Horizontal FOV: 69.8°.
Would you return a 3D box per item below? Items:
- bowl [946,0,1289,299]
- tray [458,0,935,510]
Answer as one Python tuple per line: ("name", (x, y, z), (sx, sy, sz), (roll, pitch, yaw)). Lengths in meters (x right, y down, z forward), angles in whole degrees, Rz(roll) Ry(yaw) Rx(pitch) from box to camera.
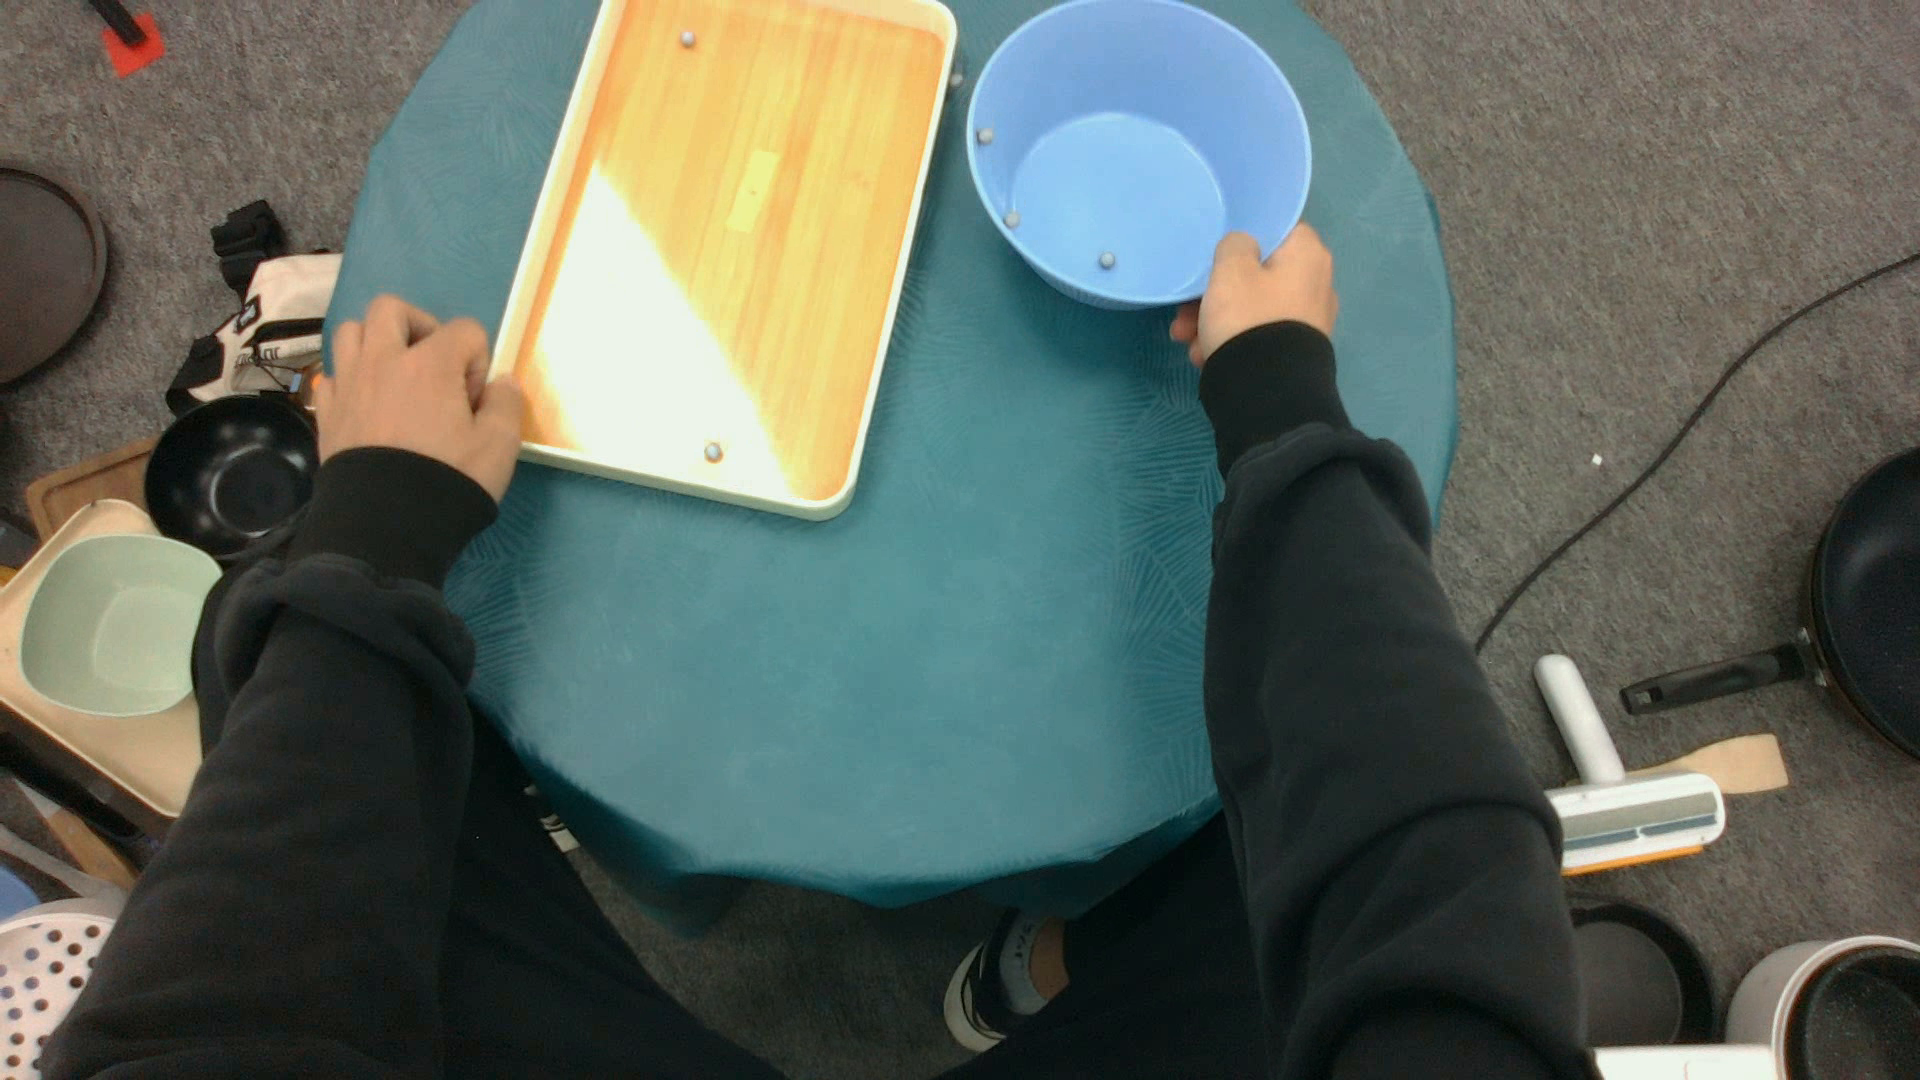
("bowl", (0.080, -0.195, 0.729), (0.176, 0.070, 0.176), (1, 73, -3))
("tray", (-0.132, -0.174, 0.731), (0.191, 0.027, 0.301), (12, 73, -1))
